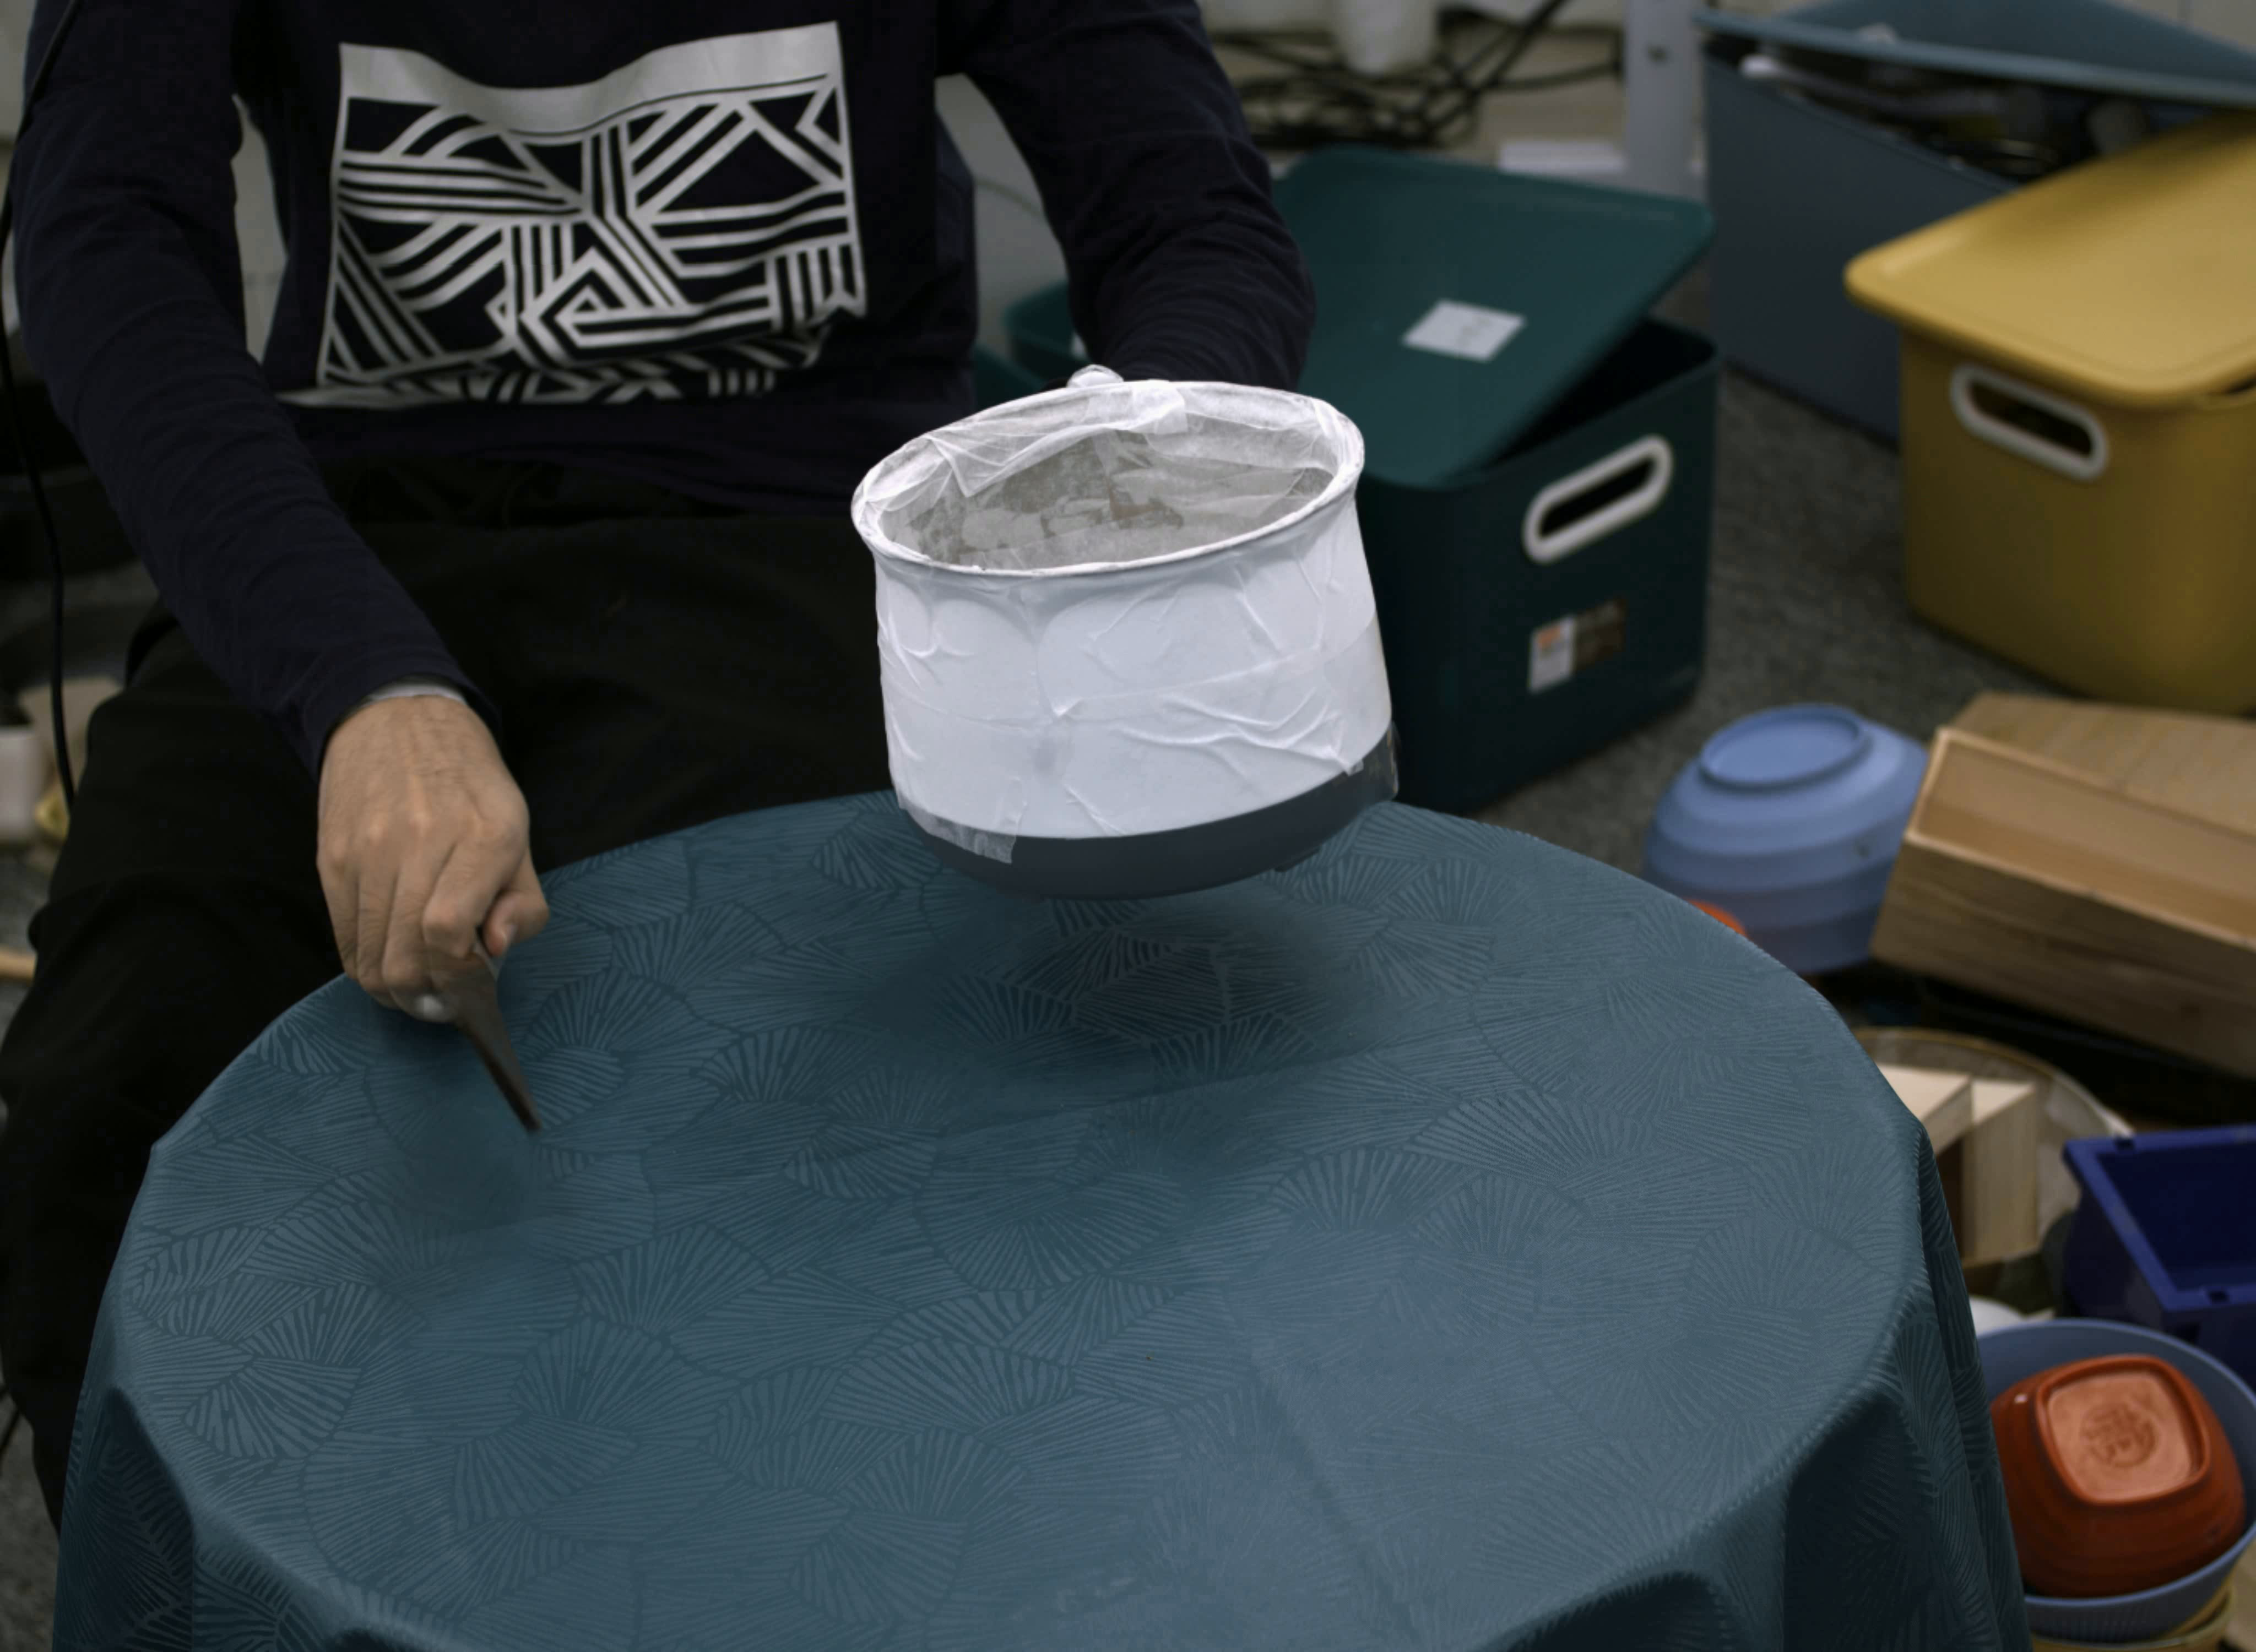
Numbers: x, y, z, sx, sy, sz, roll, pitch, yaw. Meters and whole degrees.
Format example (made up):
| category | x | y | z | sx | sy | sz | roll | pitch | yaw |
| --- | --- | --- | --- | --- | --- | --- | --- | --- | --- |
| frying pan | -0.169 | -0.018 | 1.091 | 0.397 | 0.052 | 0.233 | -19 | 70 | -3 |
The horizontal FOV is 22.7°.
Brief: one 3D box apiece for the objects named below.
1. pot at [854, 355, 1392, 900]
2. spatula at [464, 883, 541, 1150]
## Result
| category | x | y | z | sx | sy | sz | roll | pitch | yaw |
| --- | --- | --- | --- | --- | --- | --- | --- | --- | --- |
| pot | -0.002 | -0.075 | 1.963 | 0.178 | 0.135 | 0.236 | -6 | 24 | -3 |
| spatula | -0.216 | 0.054 | 1.920 | 0.009 | 0.071 | 0.217 | -17 | 16 | -4 |
